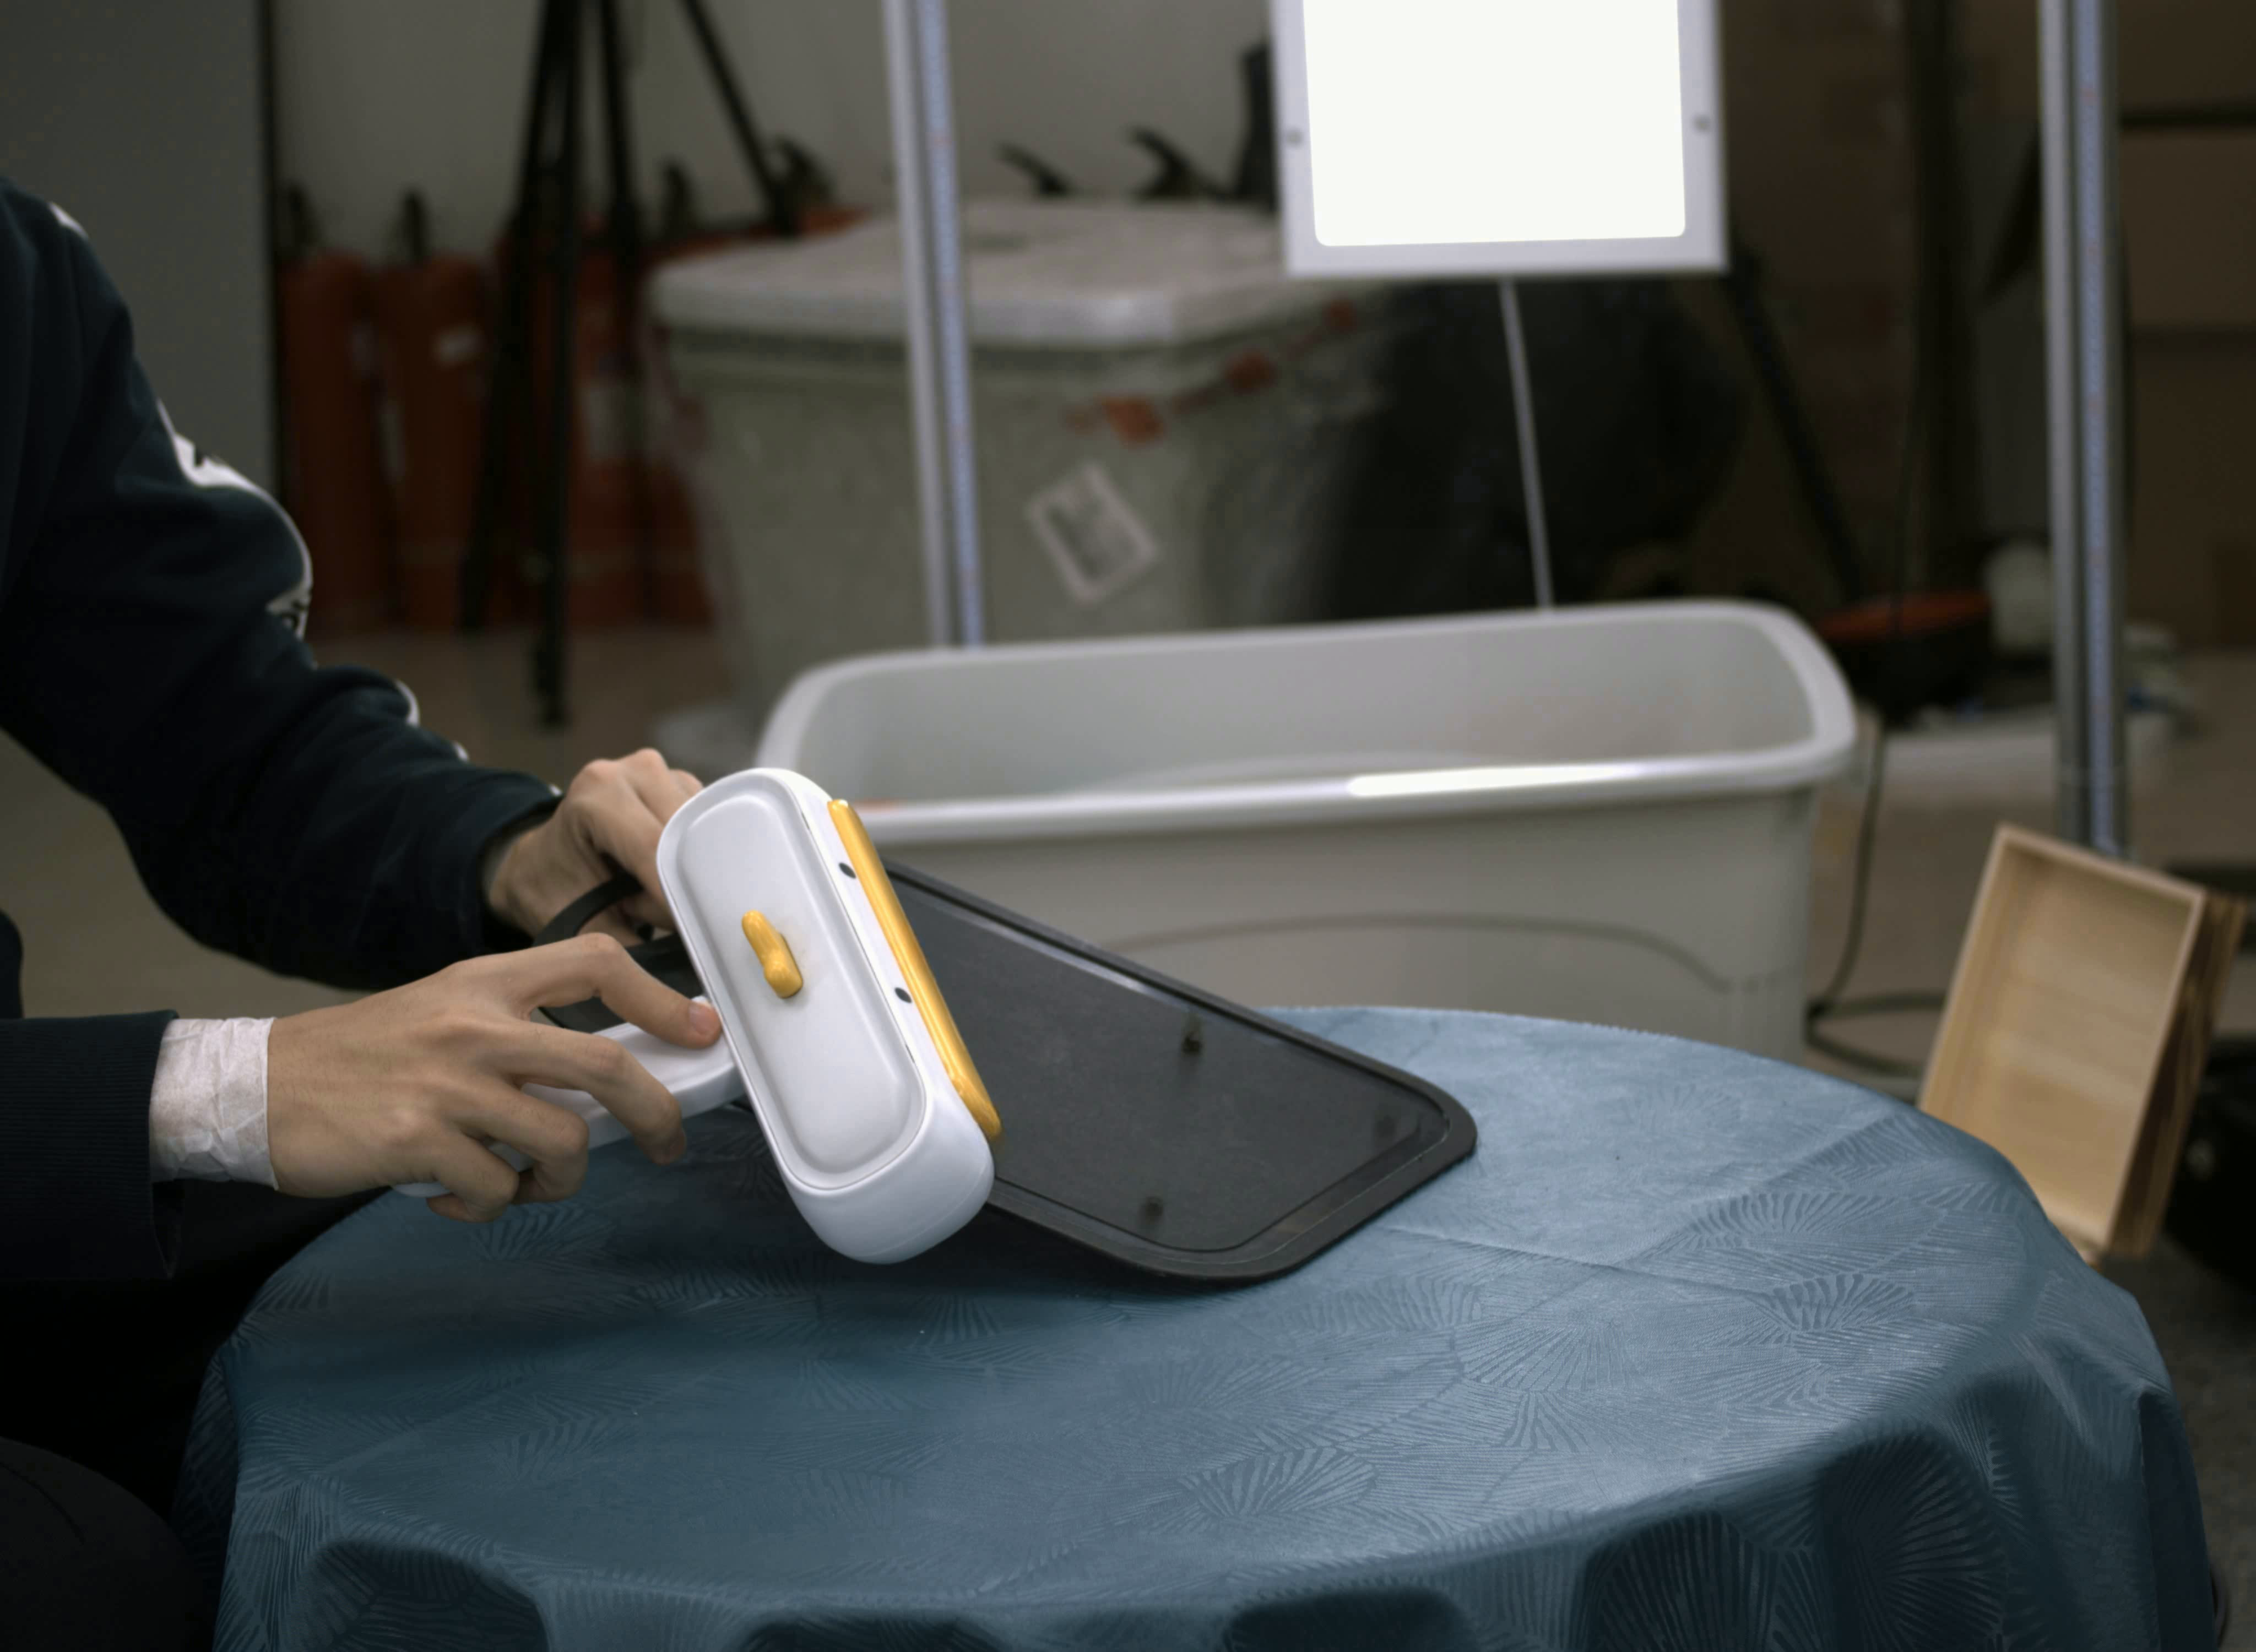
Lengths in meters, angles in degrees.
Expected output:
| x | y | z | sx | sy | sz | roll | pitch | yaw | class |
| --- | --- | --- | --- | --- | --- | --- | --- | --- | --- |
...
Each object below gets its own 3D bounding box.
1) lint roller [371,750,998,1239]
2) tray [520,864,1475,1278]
| x | y | z | sx | sy | sz | roll | pitch | yaw | class |
| --- | --- | --- | --- | --- | --- | --- | --- | --- | --- |
| -0.156 | 0.079 | 1.818 | 0.192 | 0.073 | 0.194 | -30 | 56 | -1 | lint roller |
| -0.052 | 0.076 | 1.919 | 0.330 | 0.010 | 0.206 | 21 | 24 | 26 | tray |
